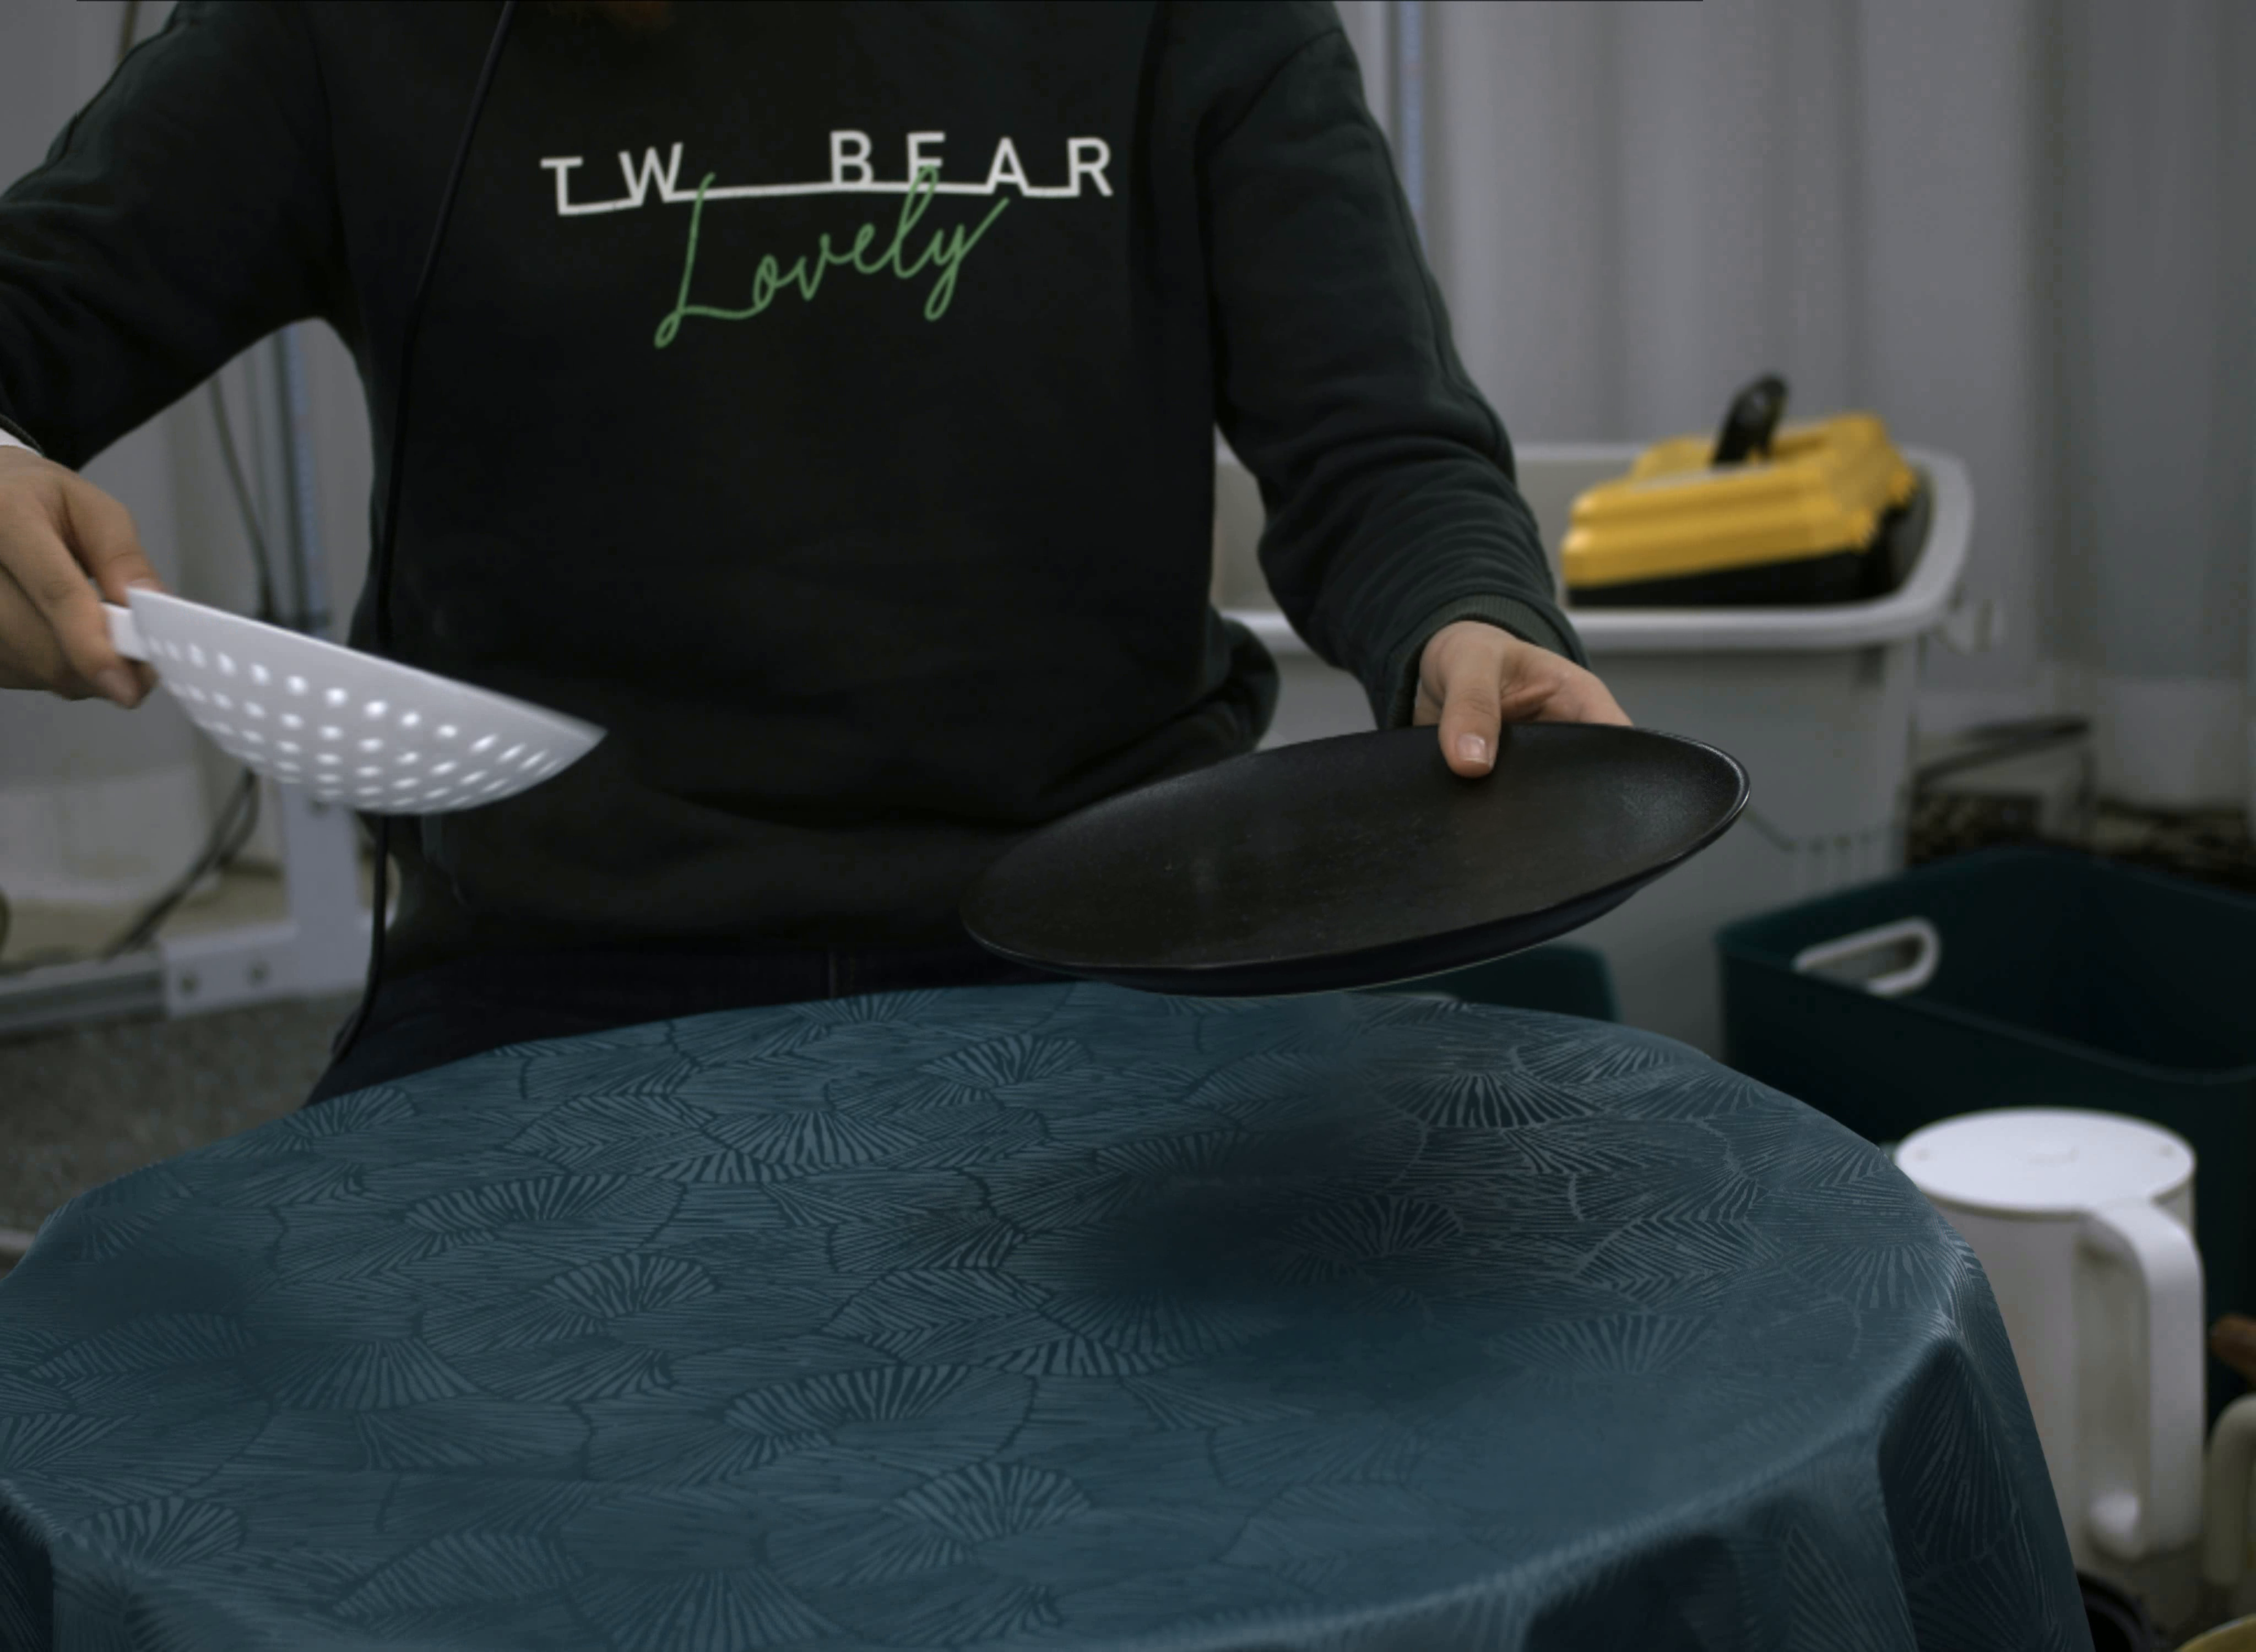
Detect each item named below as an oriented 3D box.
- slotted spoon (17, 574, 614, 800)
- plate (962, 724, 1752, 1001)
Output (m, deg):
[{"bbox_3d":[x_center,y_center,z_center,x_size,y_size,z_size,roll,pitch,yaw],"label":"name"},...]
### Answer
[{"bbox_3d":[-0.261,-0.053,1.604,0.135,0.046,0.352,17,2,-29],"label":"slotted spoon"},{"bbox_3d":[0.071,0.013,1.667,0.243,0.023,0.246,-9,15,2],"label":"plate"}]
